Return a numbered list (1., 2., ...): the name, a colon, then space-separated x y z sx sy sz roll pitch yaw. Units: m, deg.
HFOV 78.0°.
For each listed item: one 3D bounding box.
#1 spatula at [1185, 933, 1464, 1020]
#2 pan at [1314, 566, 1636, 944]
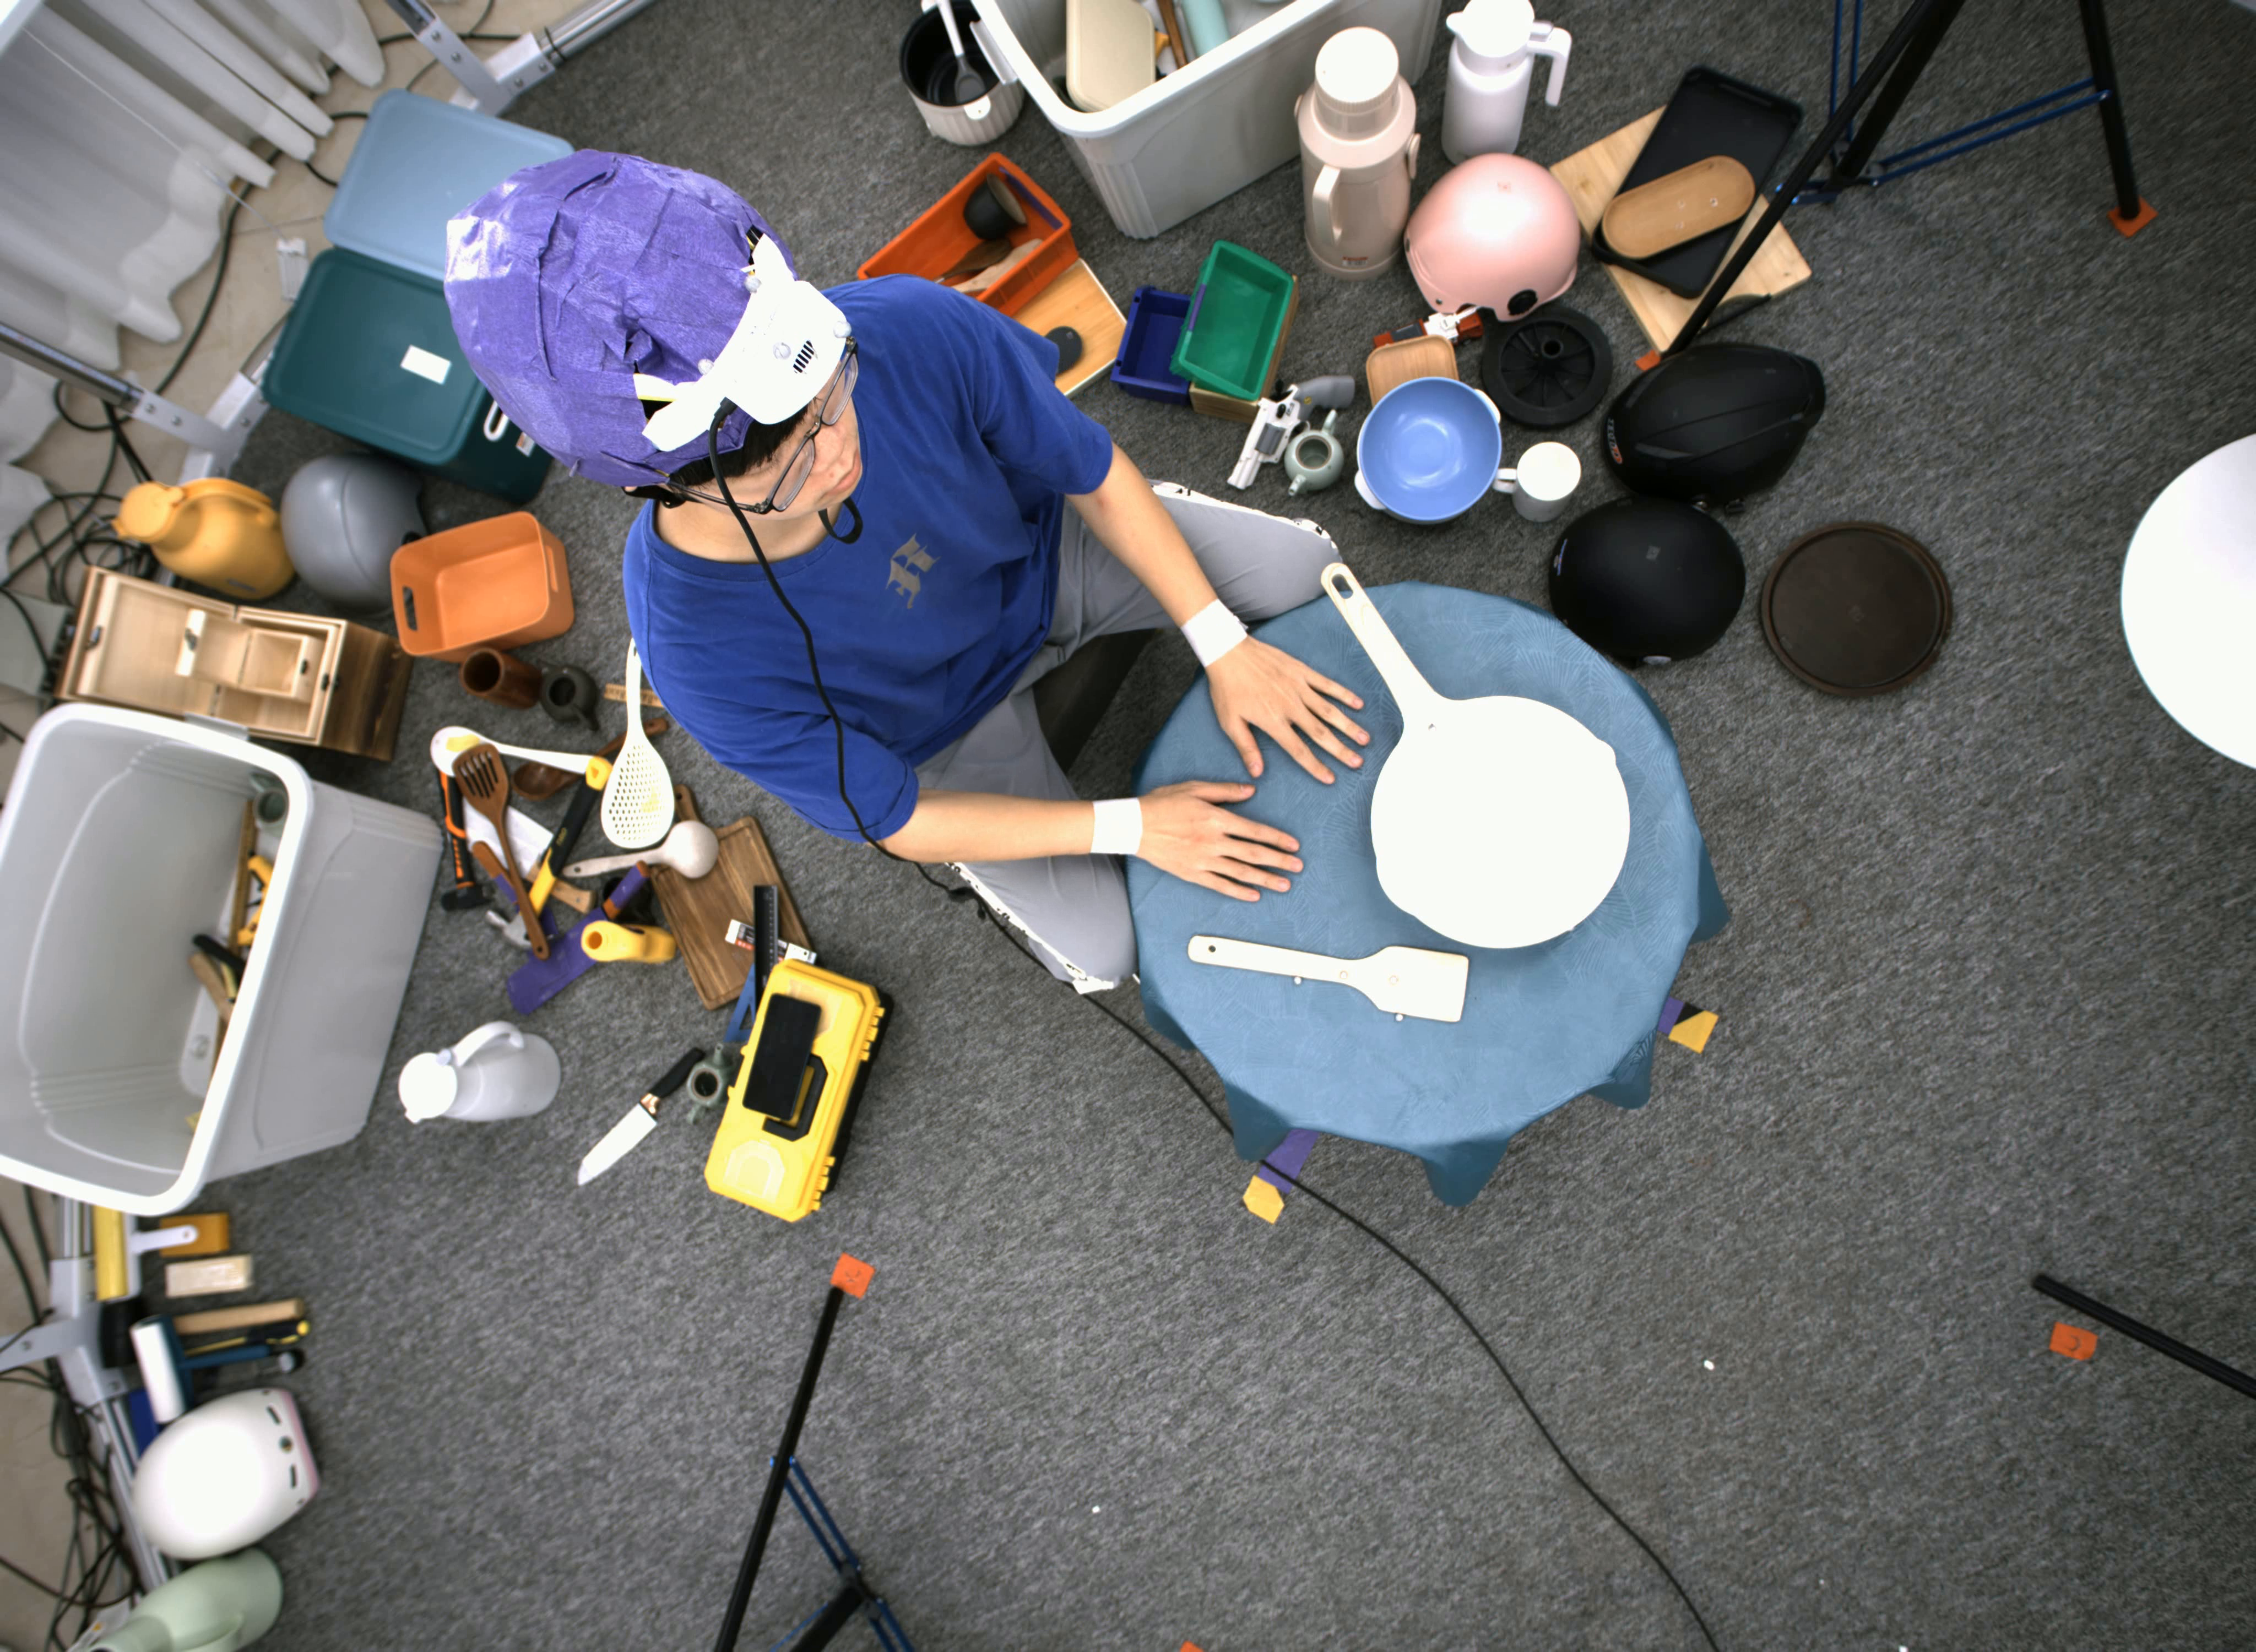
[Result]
1. spatula: 0.204 0.148 1.462 0.294 0.010 0.072 8 89 11
2. pan: 0.328 -0.083 1.405 0.265 0.102 0.432 -35 81 9
